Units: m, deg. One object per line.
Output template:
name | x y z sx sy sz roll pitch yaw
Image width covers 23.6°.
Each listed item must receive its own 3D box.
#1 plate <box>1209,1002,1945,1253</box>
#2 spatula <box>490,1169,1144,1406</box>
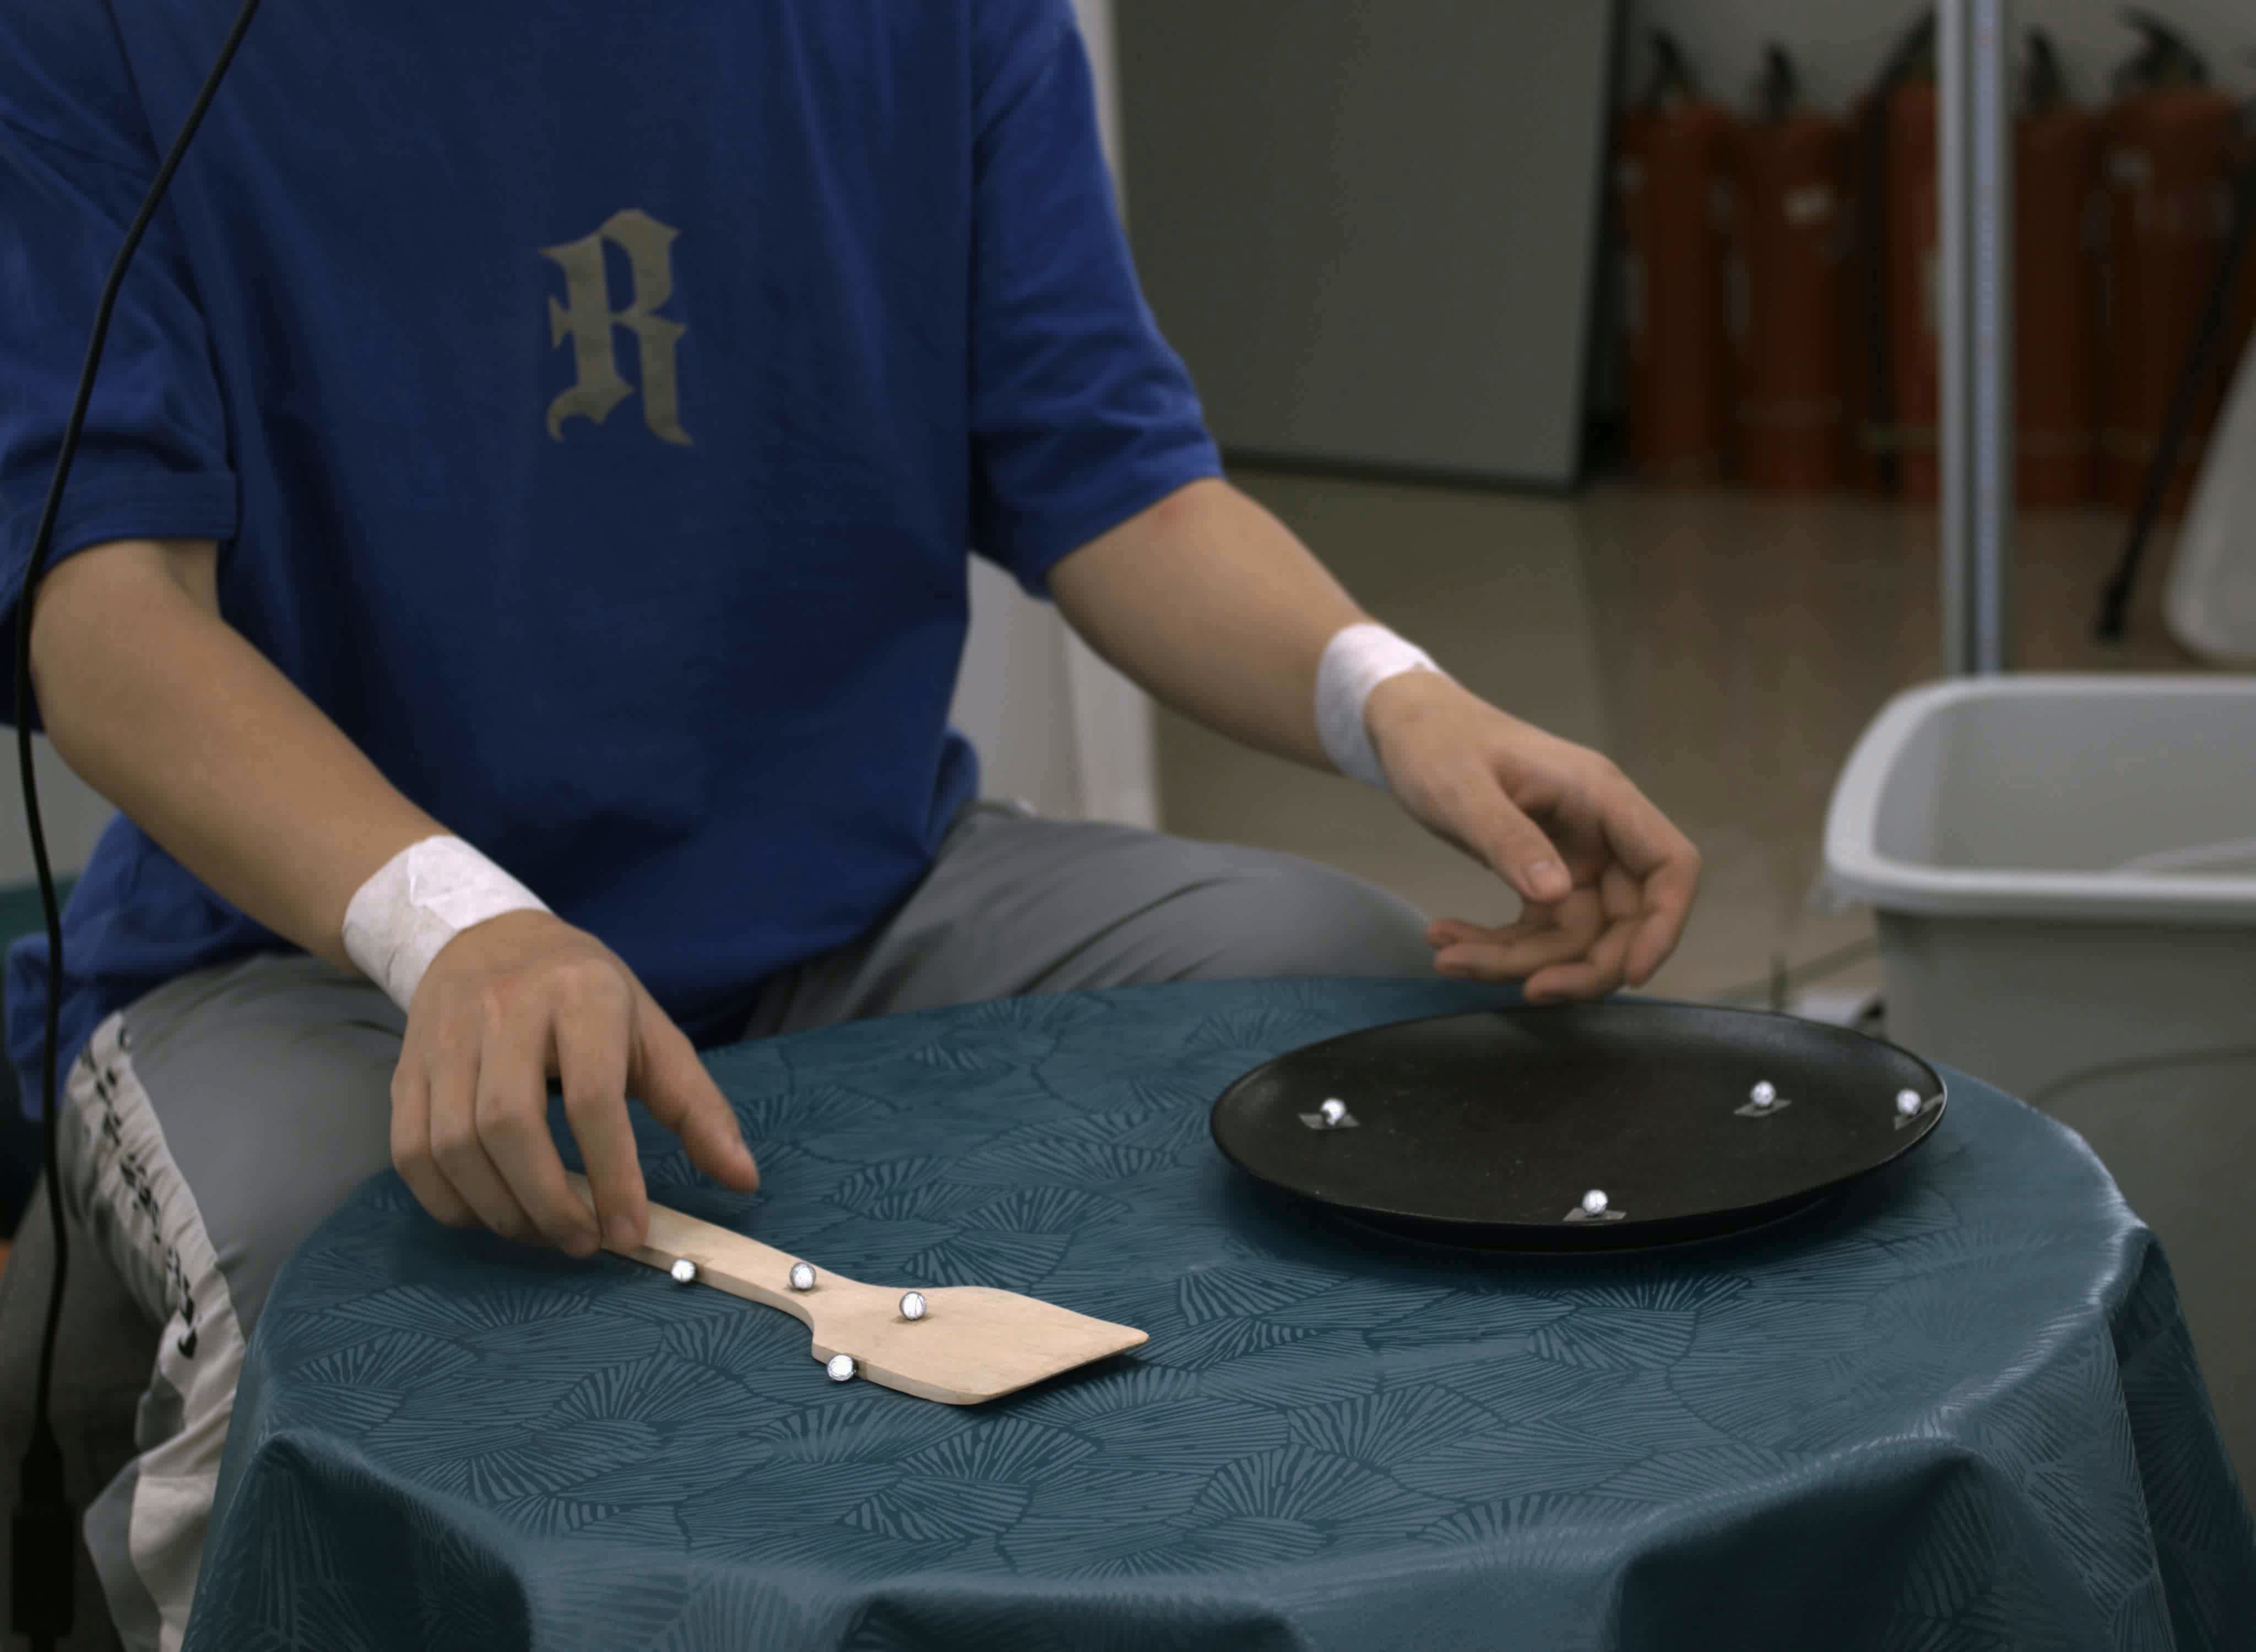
plate | 0.147 0.101 1.762 0.241 0.024 0.245 -4 14 0
spatula | -0.112 0.142 1.700 0.071 0.011 0.296 -17 19 -37
